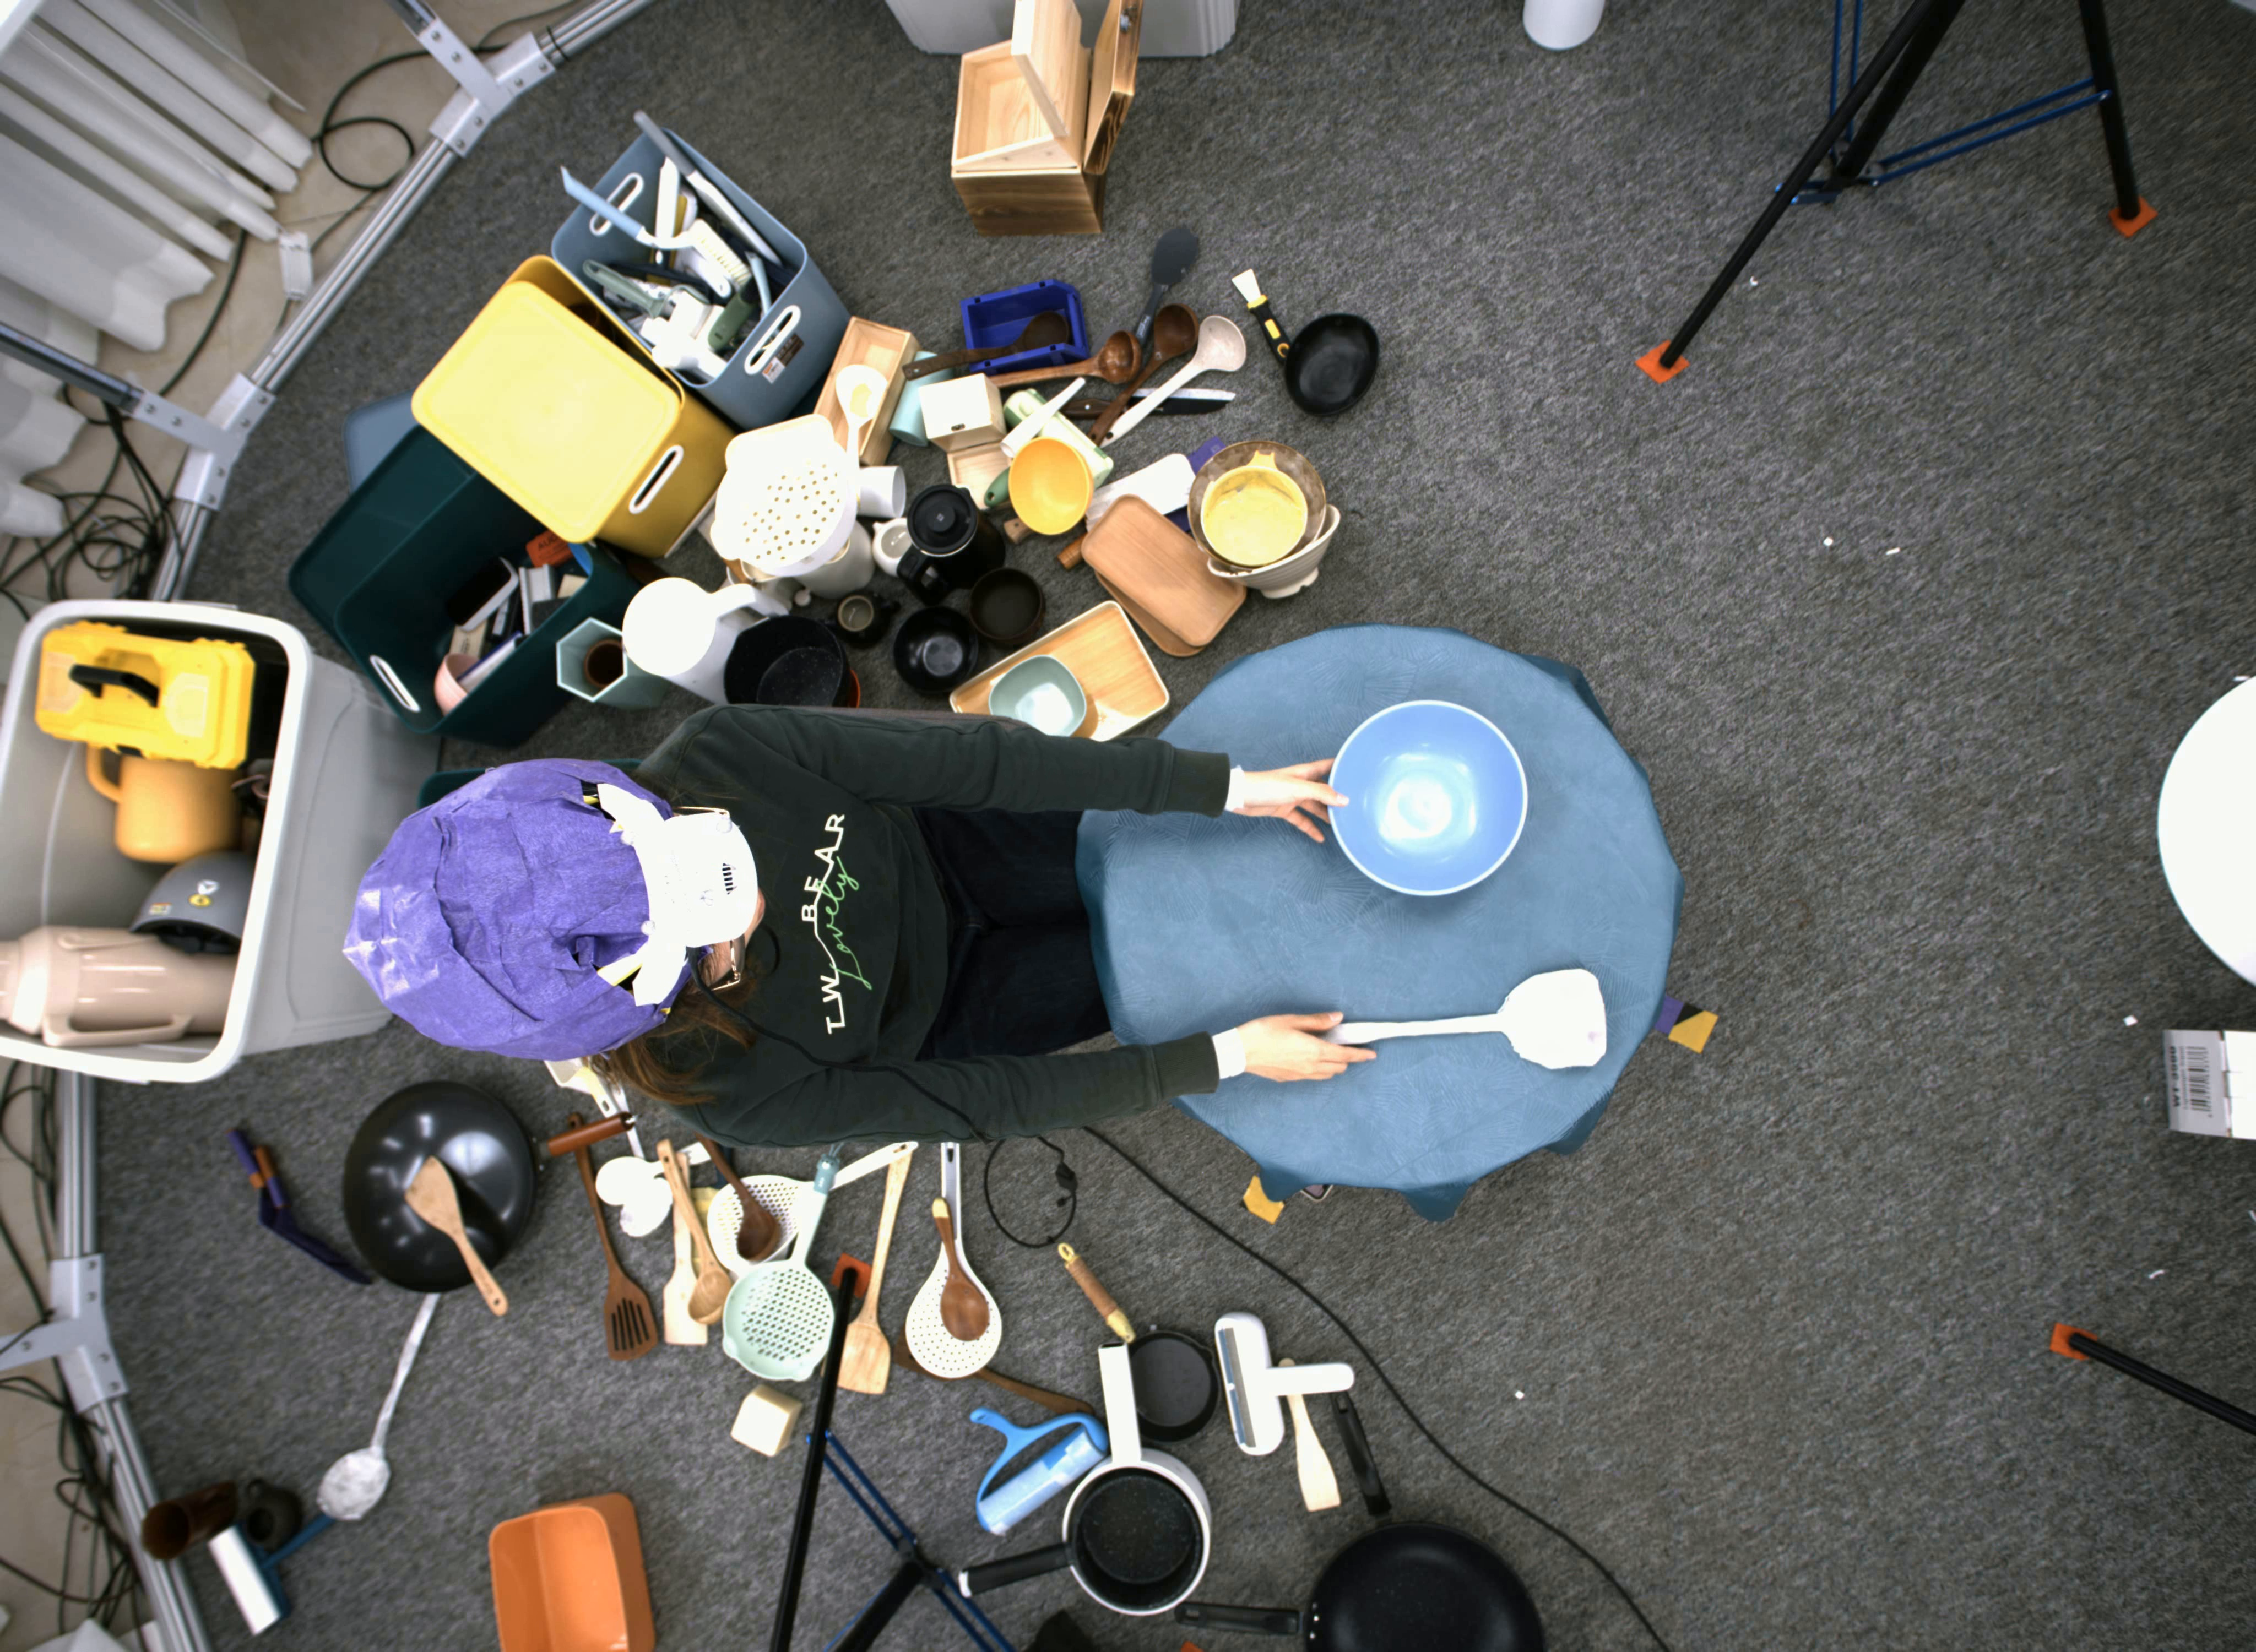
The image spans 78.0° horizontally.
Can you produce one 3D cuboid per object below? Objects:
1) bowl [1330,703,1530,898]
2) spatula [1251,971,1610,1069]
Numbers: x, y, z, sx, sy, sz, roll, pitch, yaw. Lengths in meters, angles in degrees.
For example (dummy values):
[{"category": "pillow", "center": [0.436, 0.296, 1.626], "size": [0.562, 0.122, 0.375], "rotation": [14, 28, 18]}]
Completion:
[{"category": "bowl", "center": [0.307, -0.023, 1.416], "size": [0.197, 0.095, 0.195], "rotation": [-1, 86, 9]}, {"category": "spatula", "center": [0.307, 0.206, 1.429], "size": [0.366, 0.045, 0.098], "rotation": [-4, 87, 10]}]
